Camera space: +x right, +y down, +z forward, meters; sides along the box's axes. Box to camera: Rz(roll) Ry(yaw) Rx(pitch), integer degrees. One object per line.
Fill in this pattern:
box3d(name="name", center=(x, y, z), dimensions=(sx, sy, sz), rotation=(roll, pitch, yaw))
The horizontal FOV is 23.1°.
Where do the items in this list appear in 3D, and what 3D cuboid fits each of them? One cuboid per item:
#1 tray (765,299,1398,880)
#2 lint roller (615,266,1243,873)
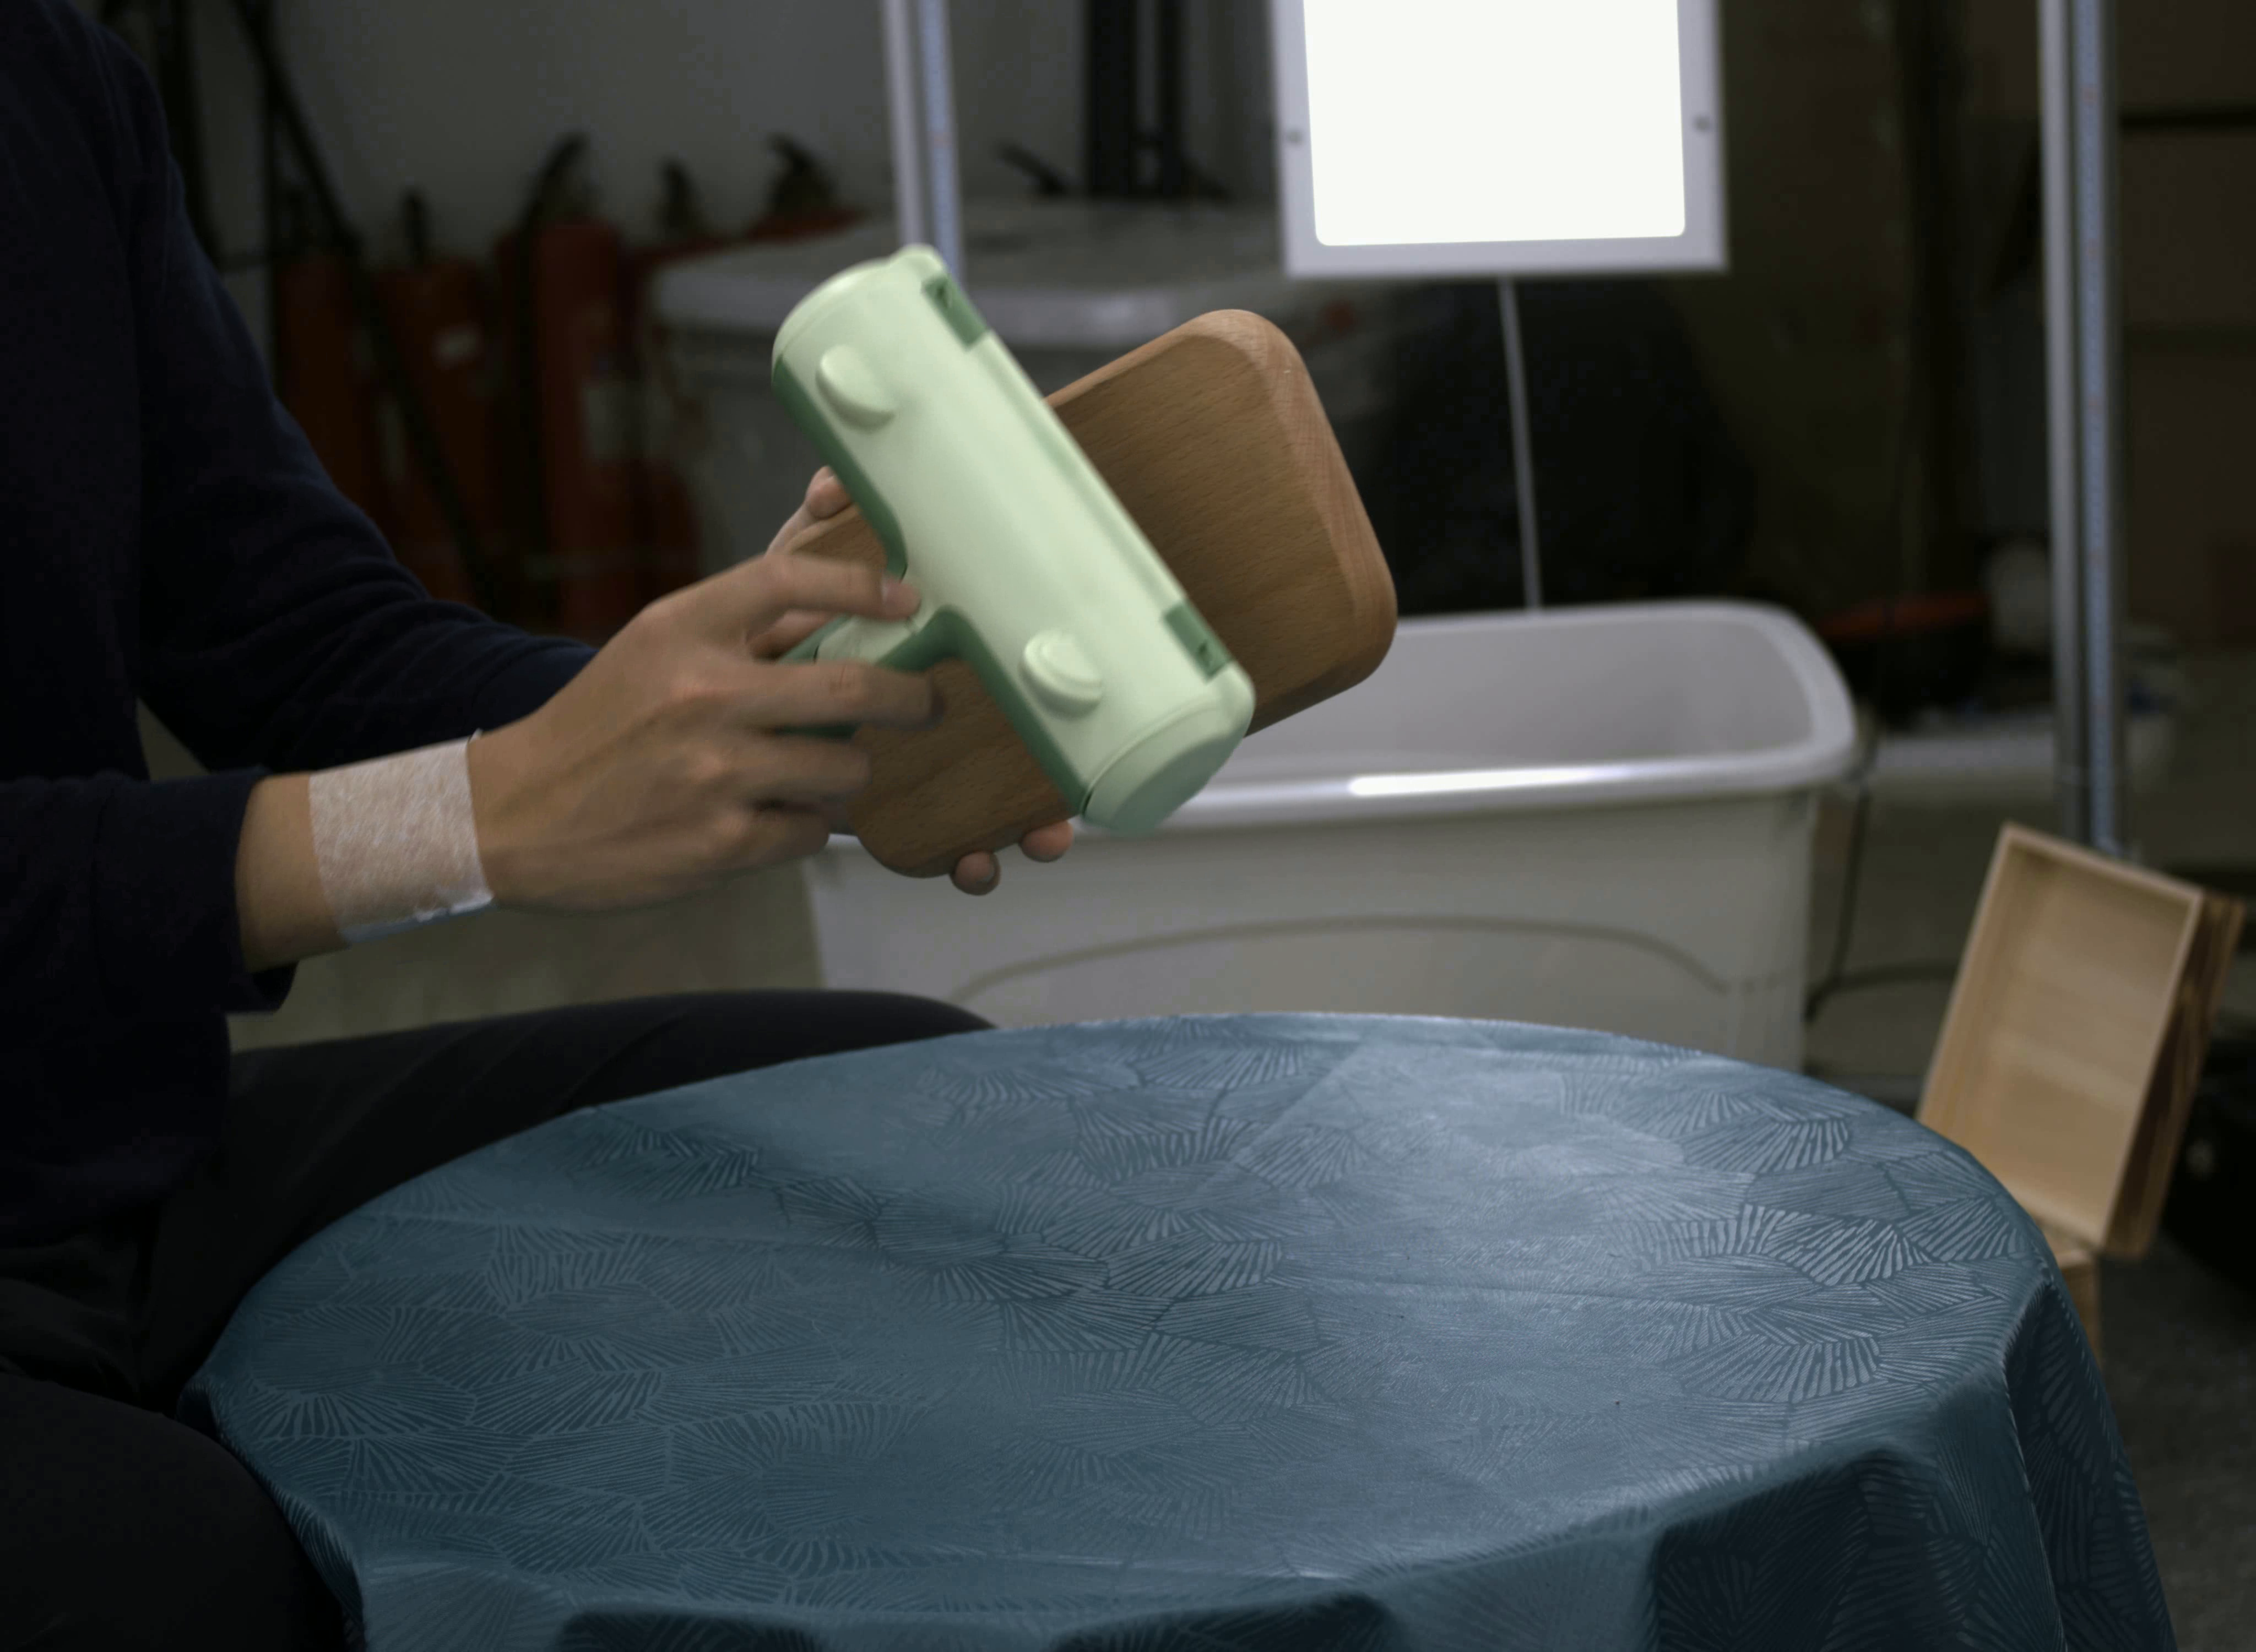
box3d(name="tray", center=(-0.021, -0.073, 1.780), dimensions=(0.256, 0.131, 0.022), rotation=(-26, -7, 42))
box3d(name="lint roller", center=(-0.089, -0.052, 1.687), dimensions=(0.183, 0.200, 0.081), rotation=(-36, -22, 0))
